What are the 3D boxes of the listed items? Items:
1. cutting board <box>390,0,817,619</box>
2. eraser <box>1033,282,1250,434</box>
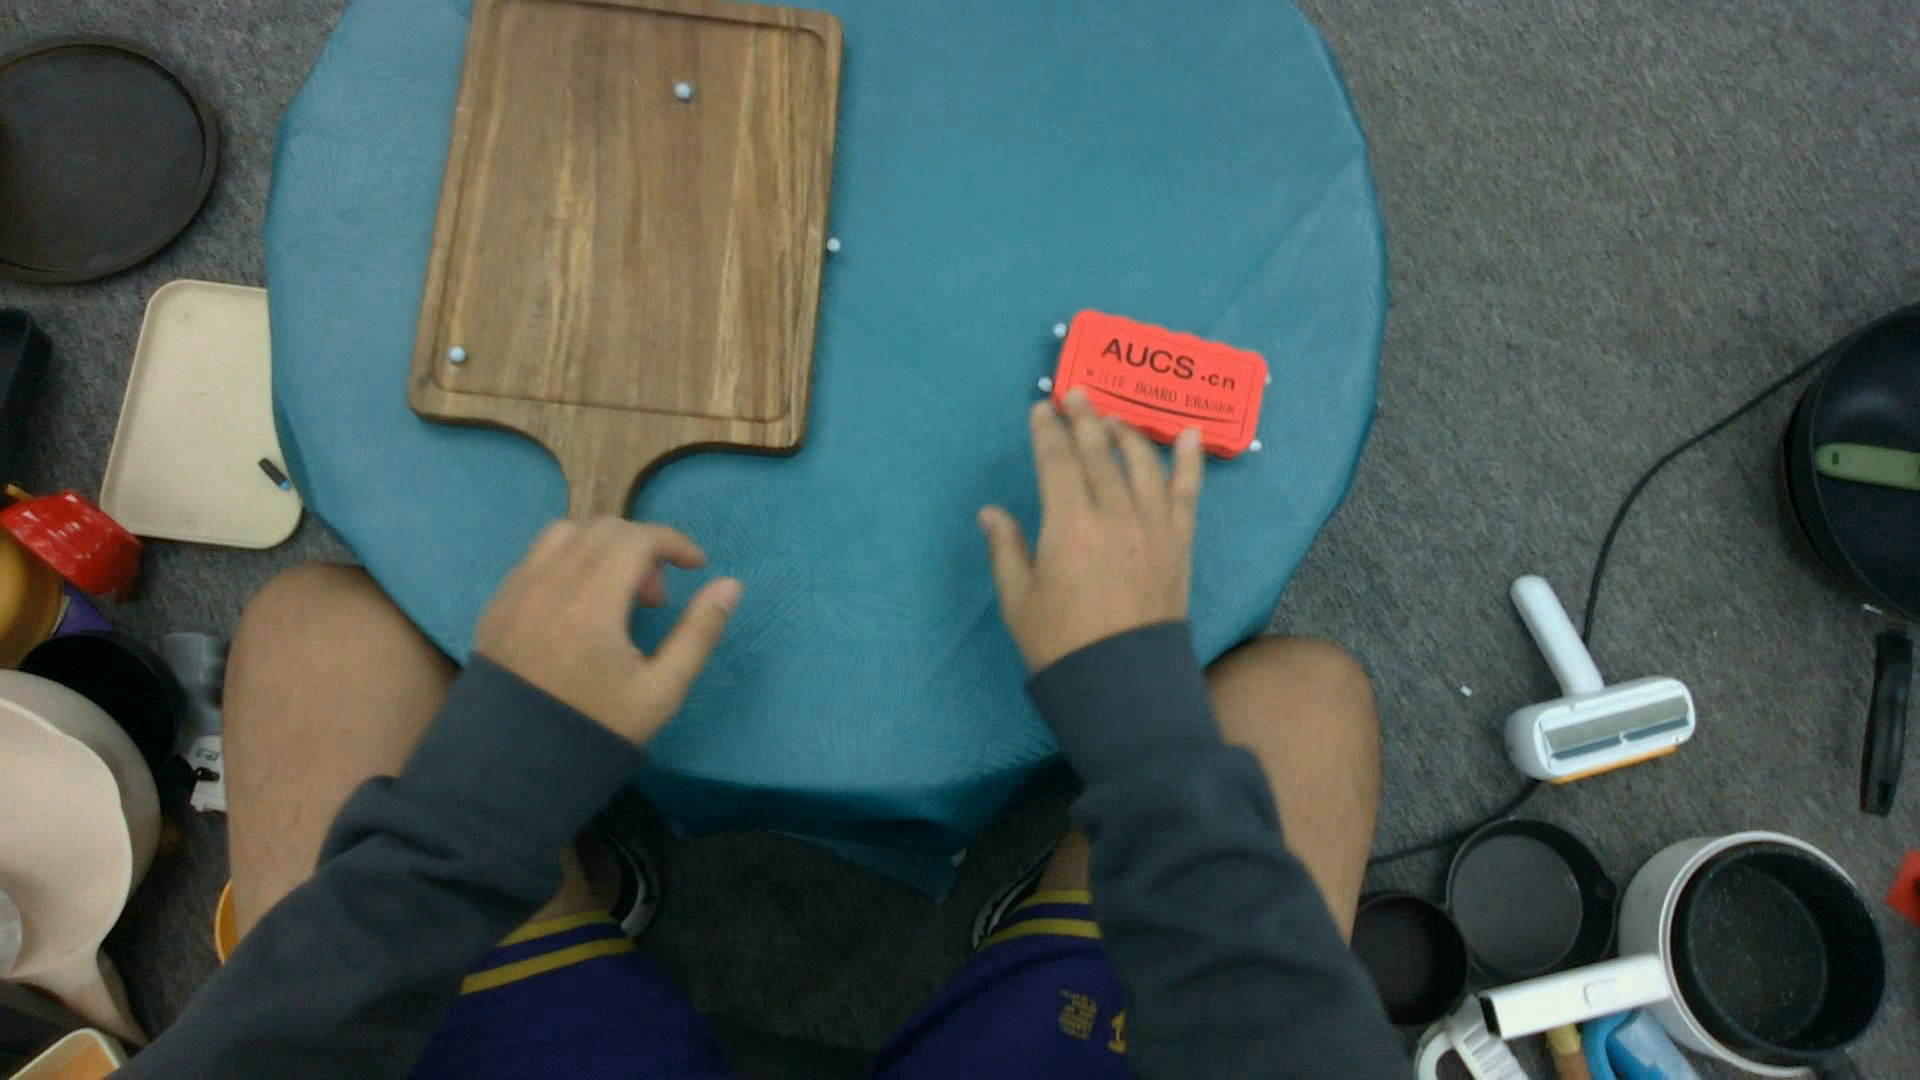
[{"bbox_3d":[-0.182,-0.135,0.708,0.201,0.023,0.353,4,78,-6],"label":"cutting board"},{"bbox_3d":[0.096,-0.096,0.727,0.108,0.023,0.059,14,76,-5],"label":"eraser"}]
